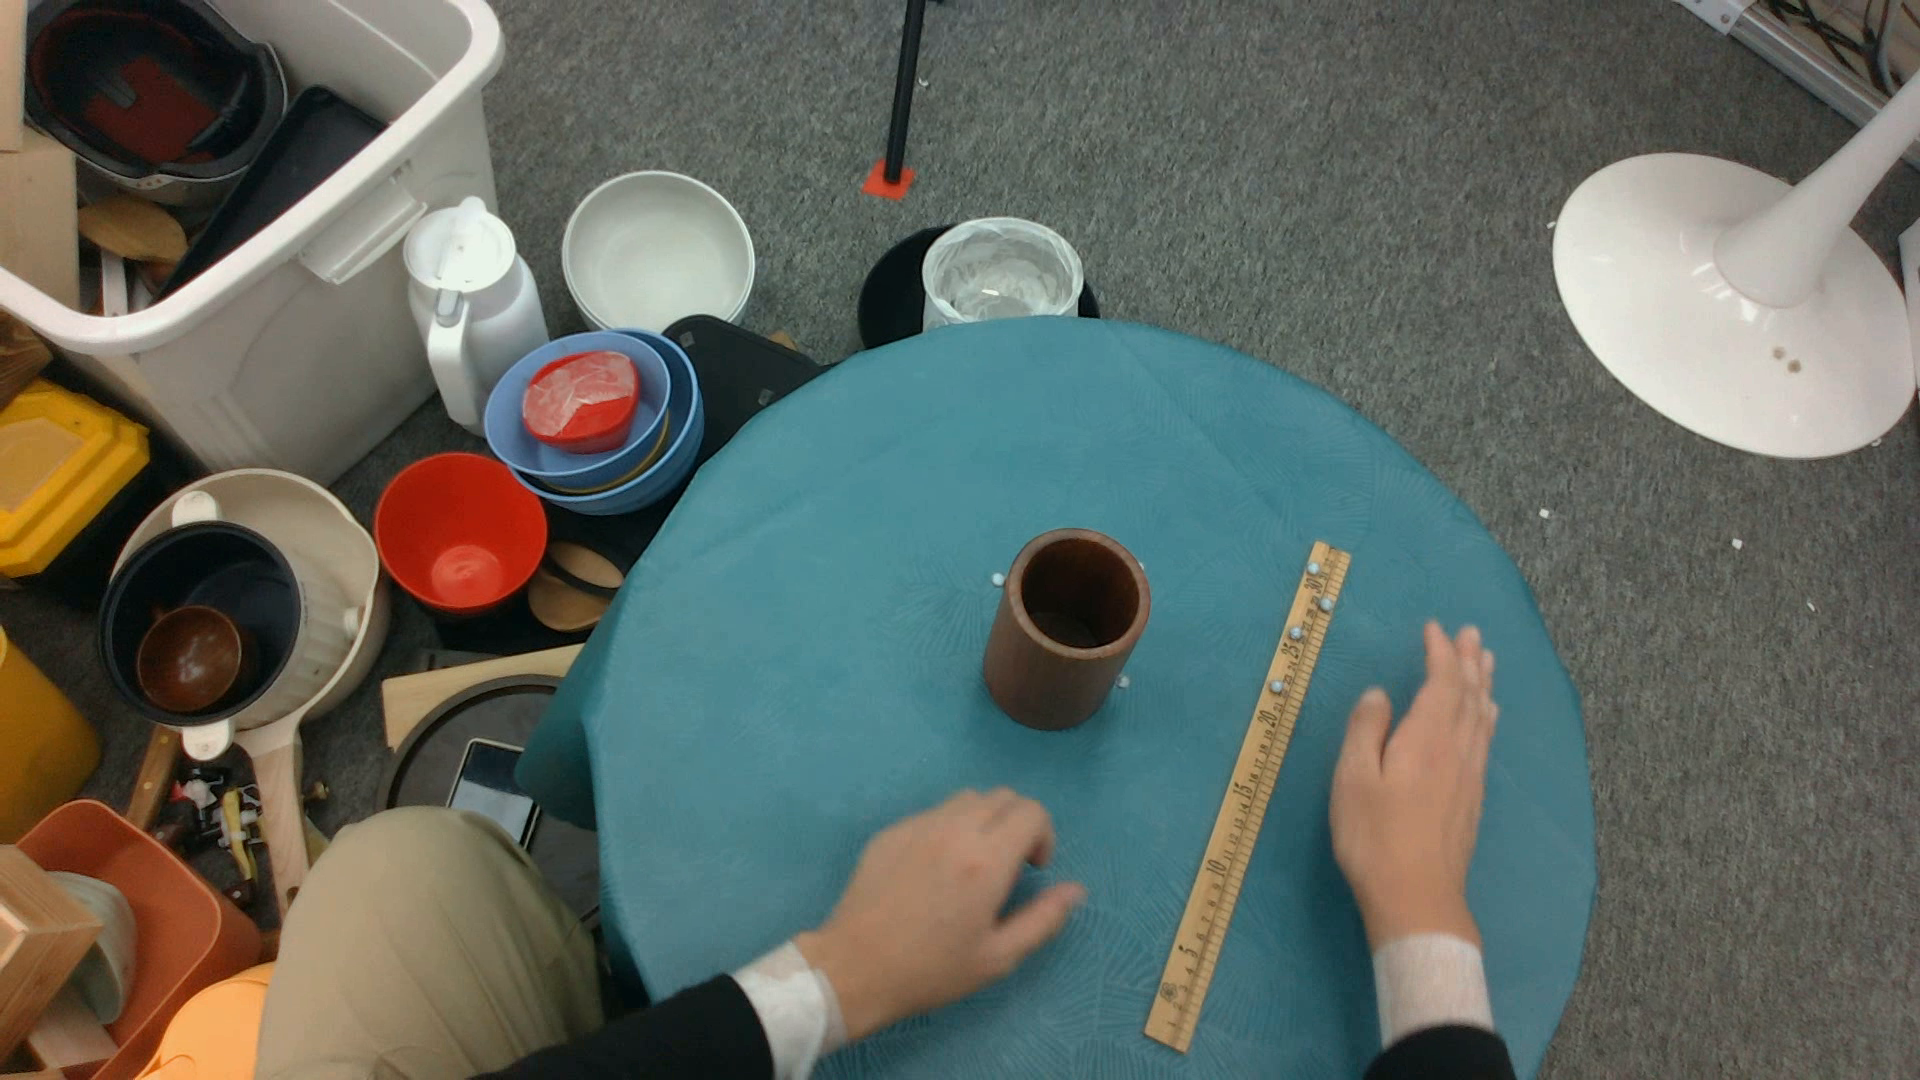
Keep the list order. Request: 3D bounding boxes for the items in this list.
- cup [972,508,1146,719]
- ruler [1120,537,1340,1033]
[{"bbox_3d":[0.054,0.044,0.784,0.088,0.118,0.088,3,62,-5],"label":"cup"},{"bbox_3d":[0.167,0.130,0.815,0.027,0.022,0.333,23,61,11],"label":"ruler"}]
